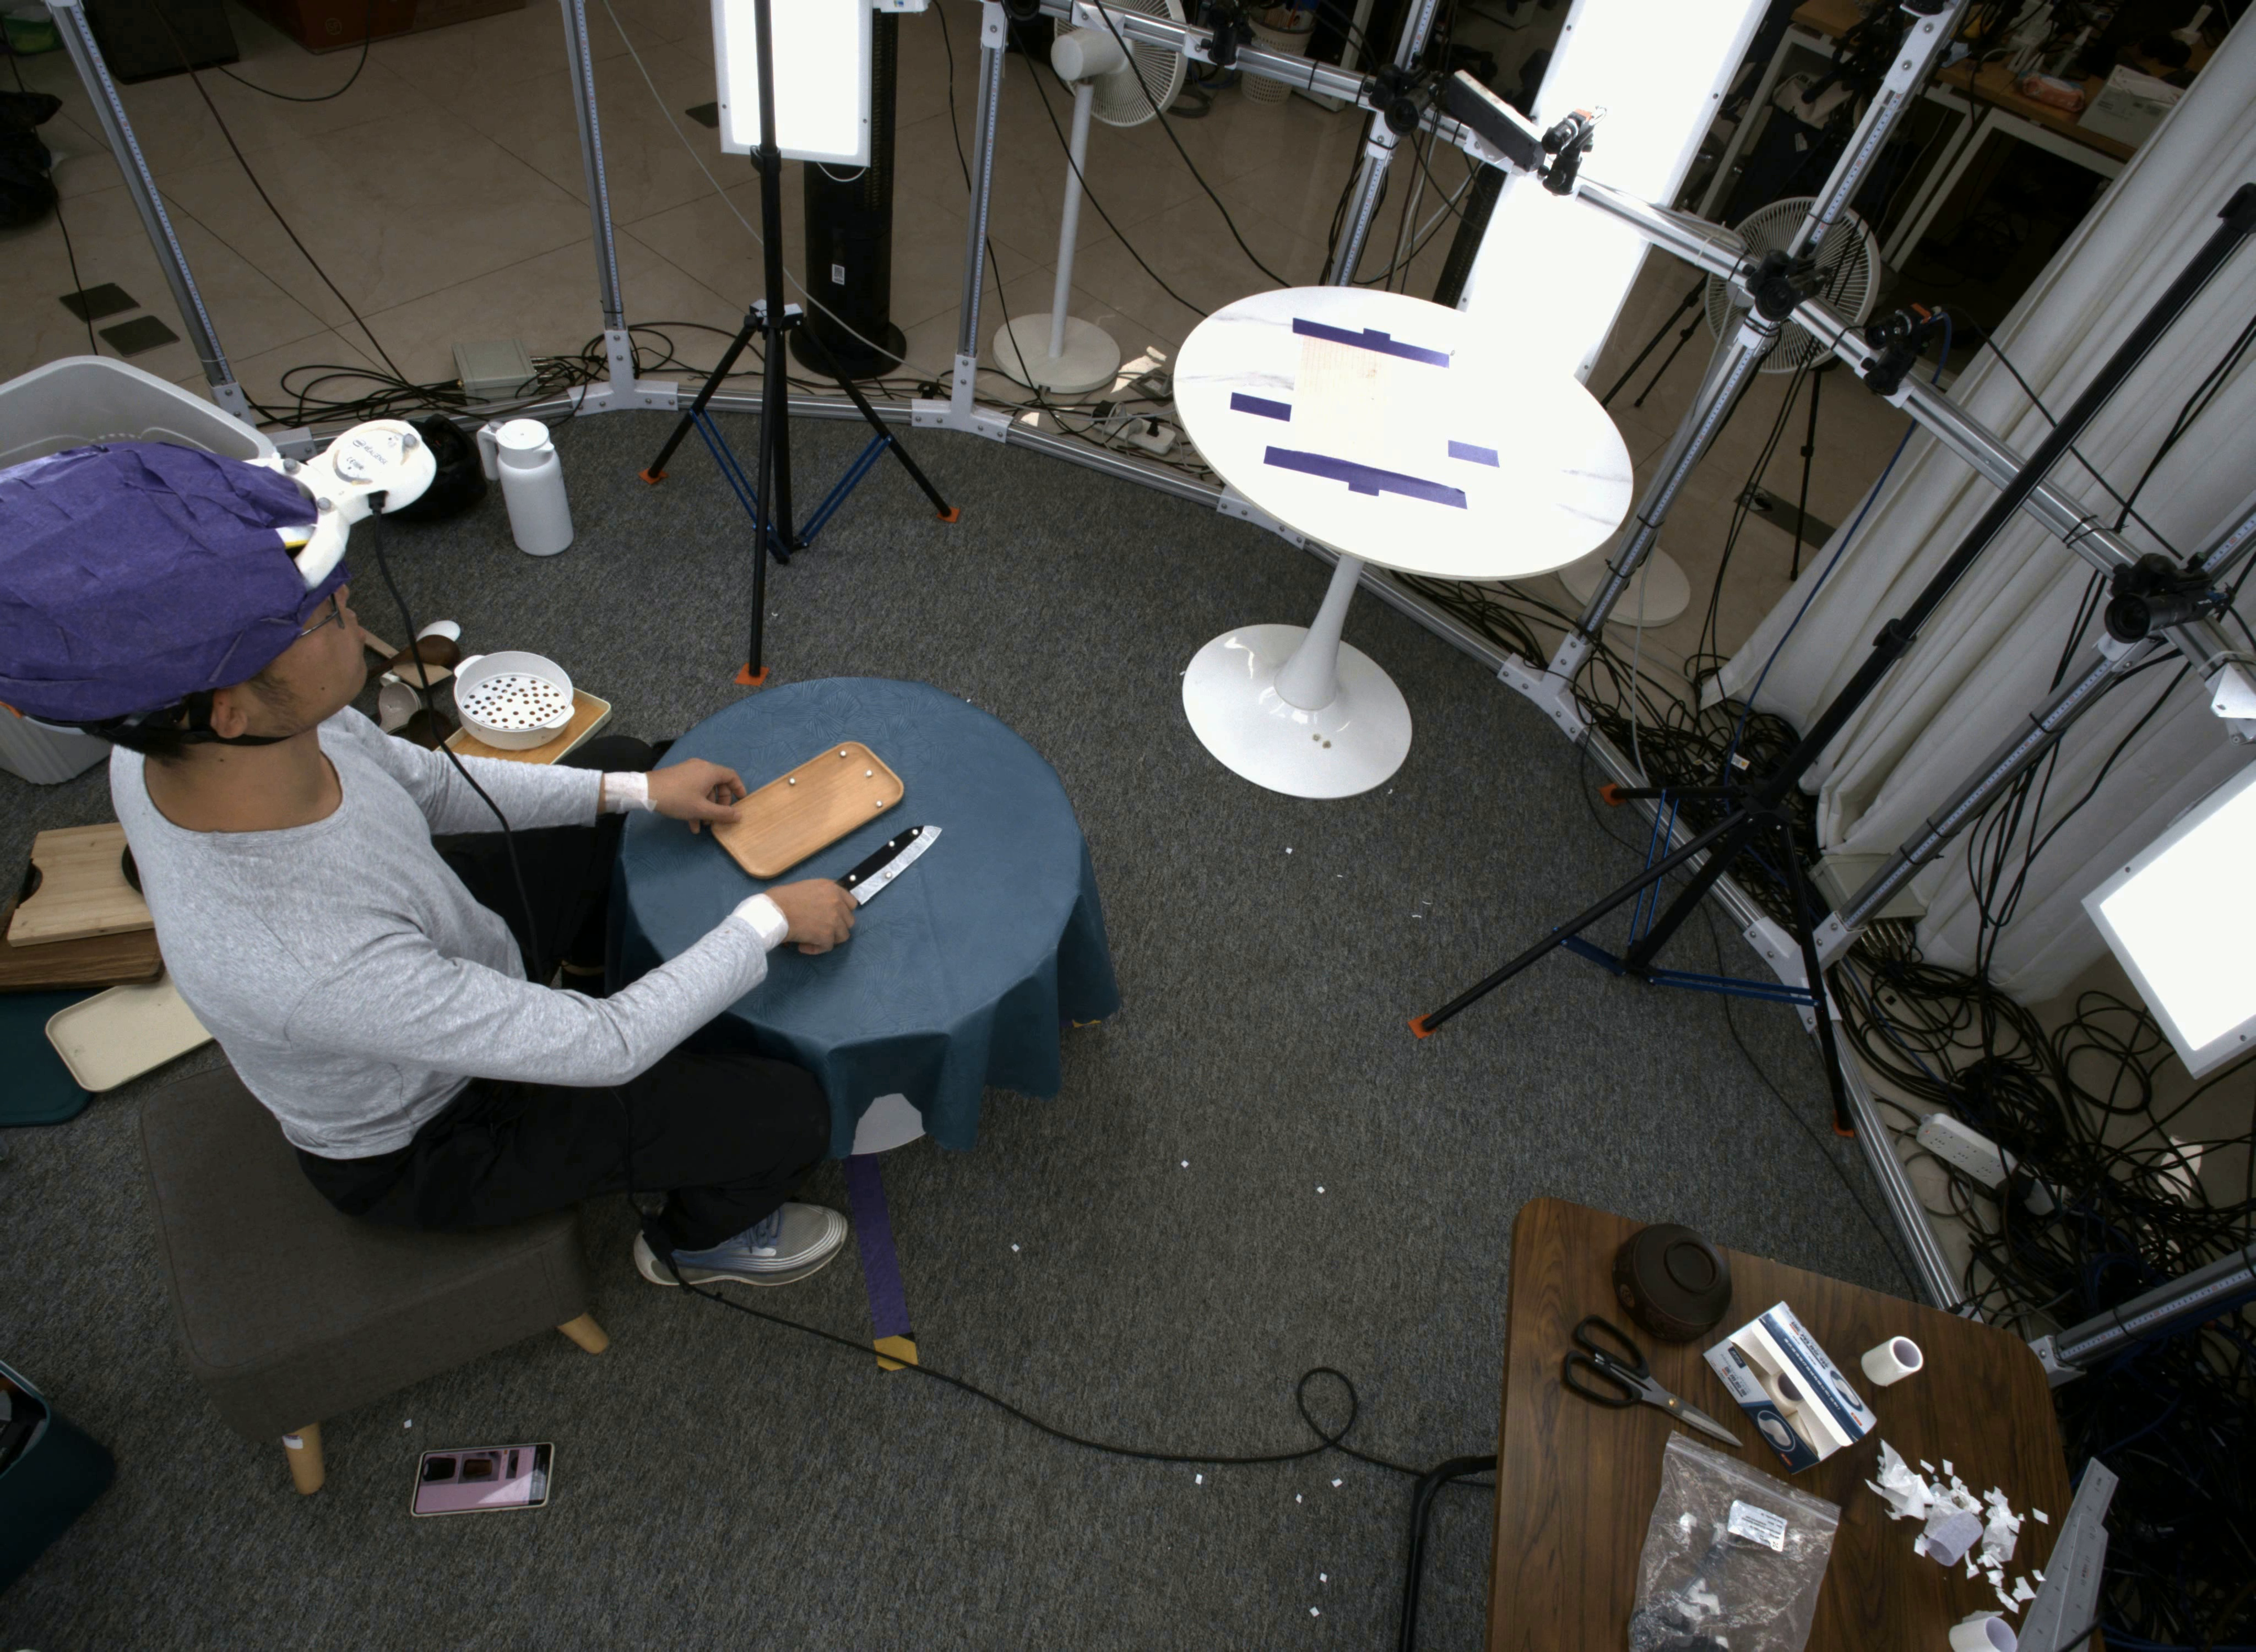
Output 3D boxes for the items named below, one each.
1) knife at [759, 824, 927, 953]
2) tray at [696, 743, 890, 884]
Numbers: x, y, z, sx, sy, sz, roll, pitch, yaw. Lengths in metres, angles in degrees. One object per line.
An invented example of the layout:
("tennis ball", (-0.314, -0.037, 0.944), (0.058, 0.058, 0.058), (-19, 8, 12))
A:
("knife", (-0.363, 0.074, 1.683), (0.050, 0.020, 0.289), (46, 52, 5))
("tray", (-0.446, -0.020, 1.734), (0.127, 0.023, 0.251), (42, 56, 20))
